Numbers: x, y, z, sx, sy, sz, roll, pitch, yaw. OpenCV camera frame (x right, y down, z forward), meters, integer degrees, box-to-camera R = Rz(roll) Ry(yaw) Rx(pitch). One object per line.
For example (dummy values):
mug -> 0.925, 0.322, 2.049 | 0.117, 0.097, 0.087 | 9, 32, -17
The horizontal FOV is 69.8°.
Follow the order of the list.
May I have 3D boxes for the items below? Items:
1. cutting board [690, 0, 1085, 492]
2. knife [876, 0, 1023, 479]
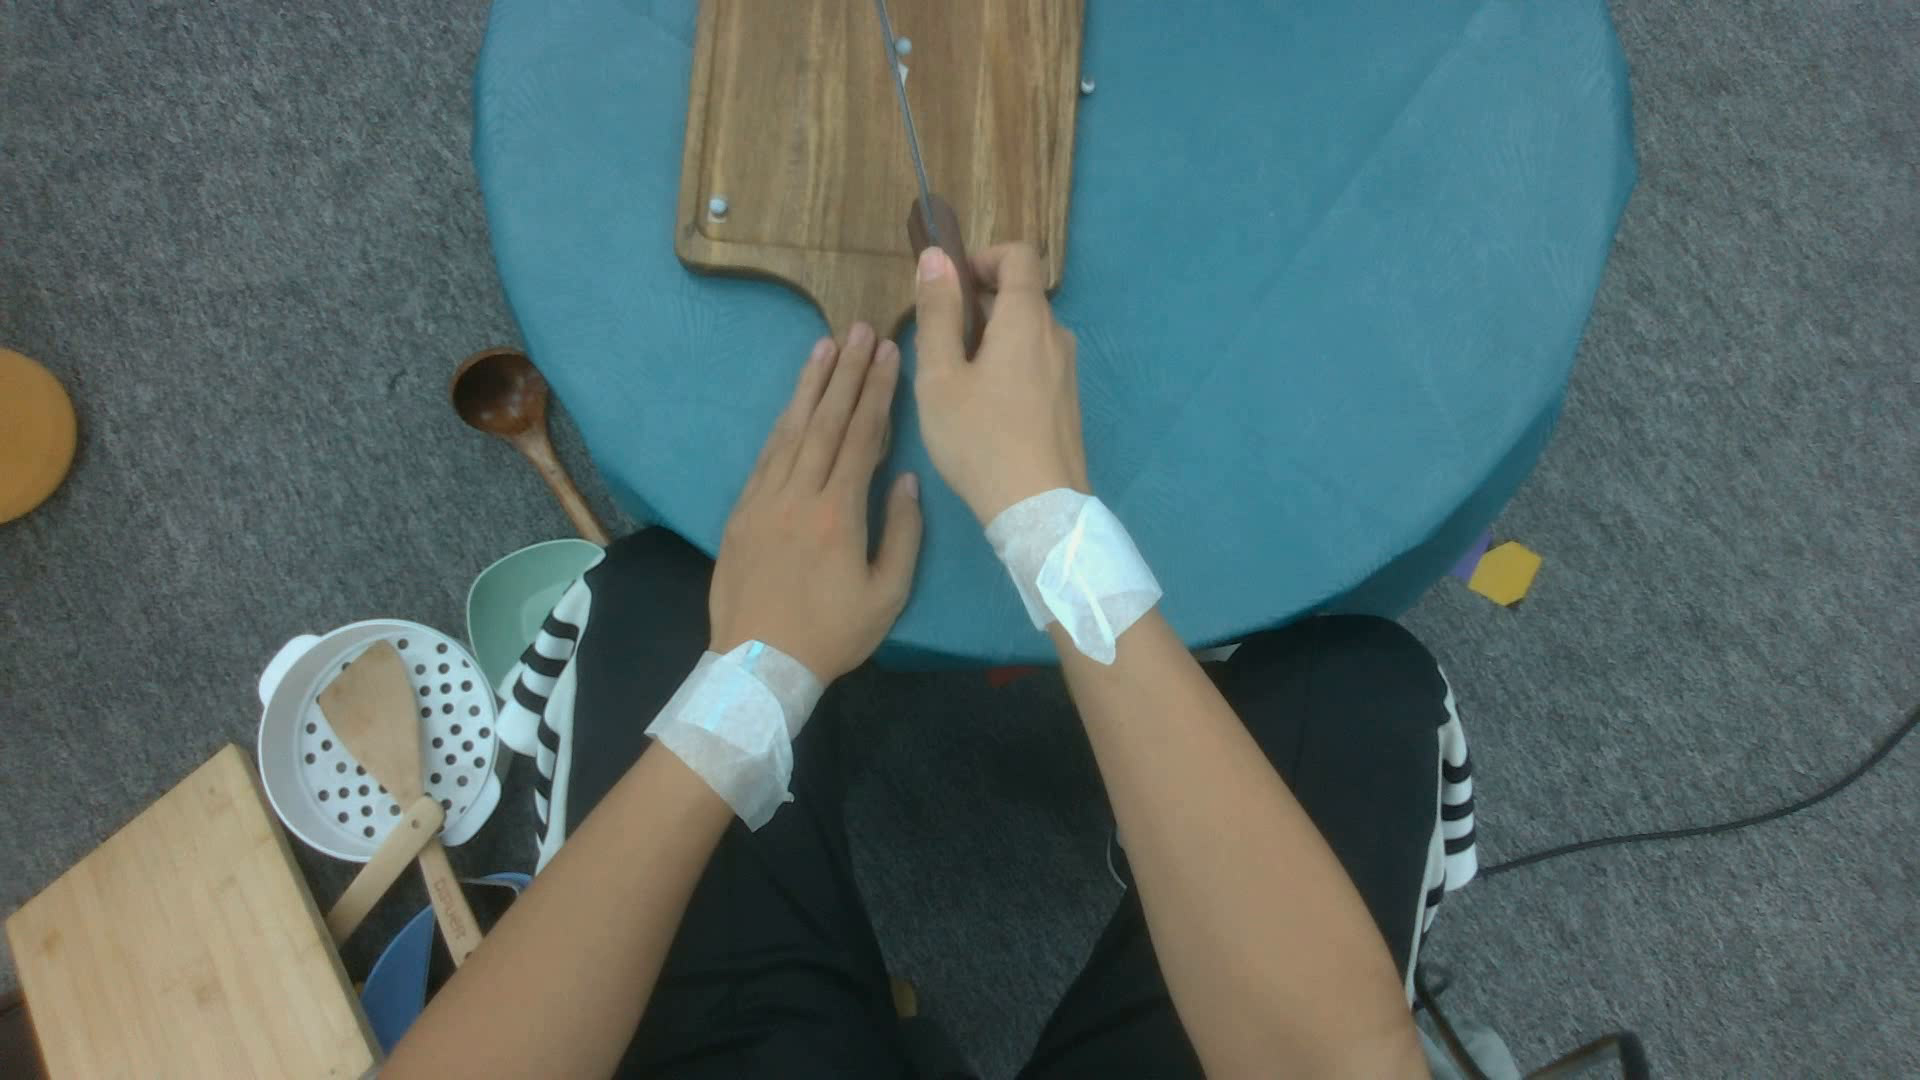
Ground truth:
cutting board -> -0.038, -0.200, 0.725 | 0.201, 0.023, 0.352 | 4, 82, -1
knife -> -0.015, -0.169, 0.654 | 0.024, 0.068, 0.300 | -14, 82, 4
